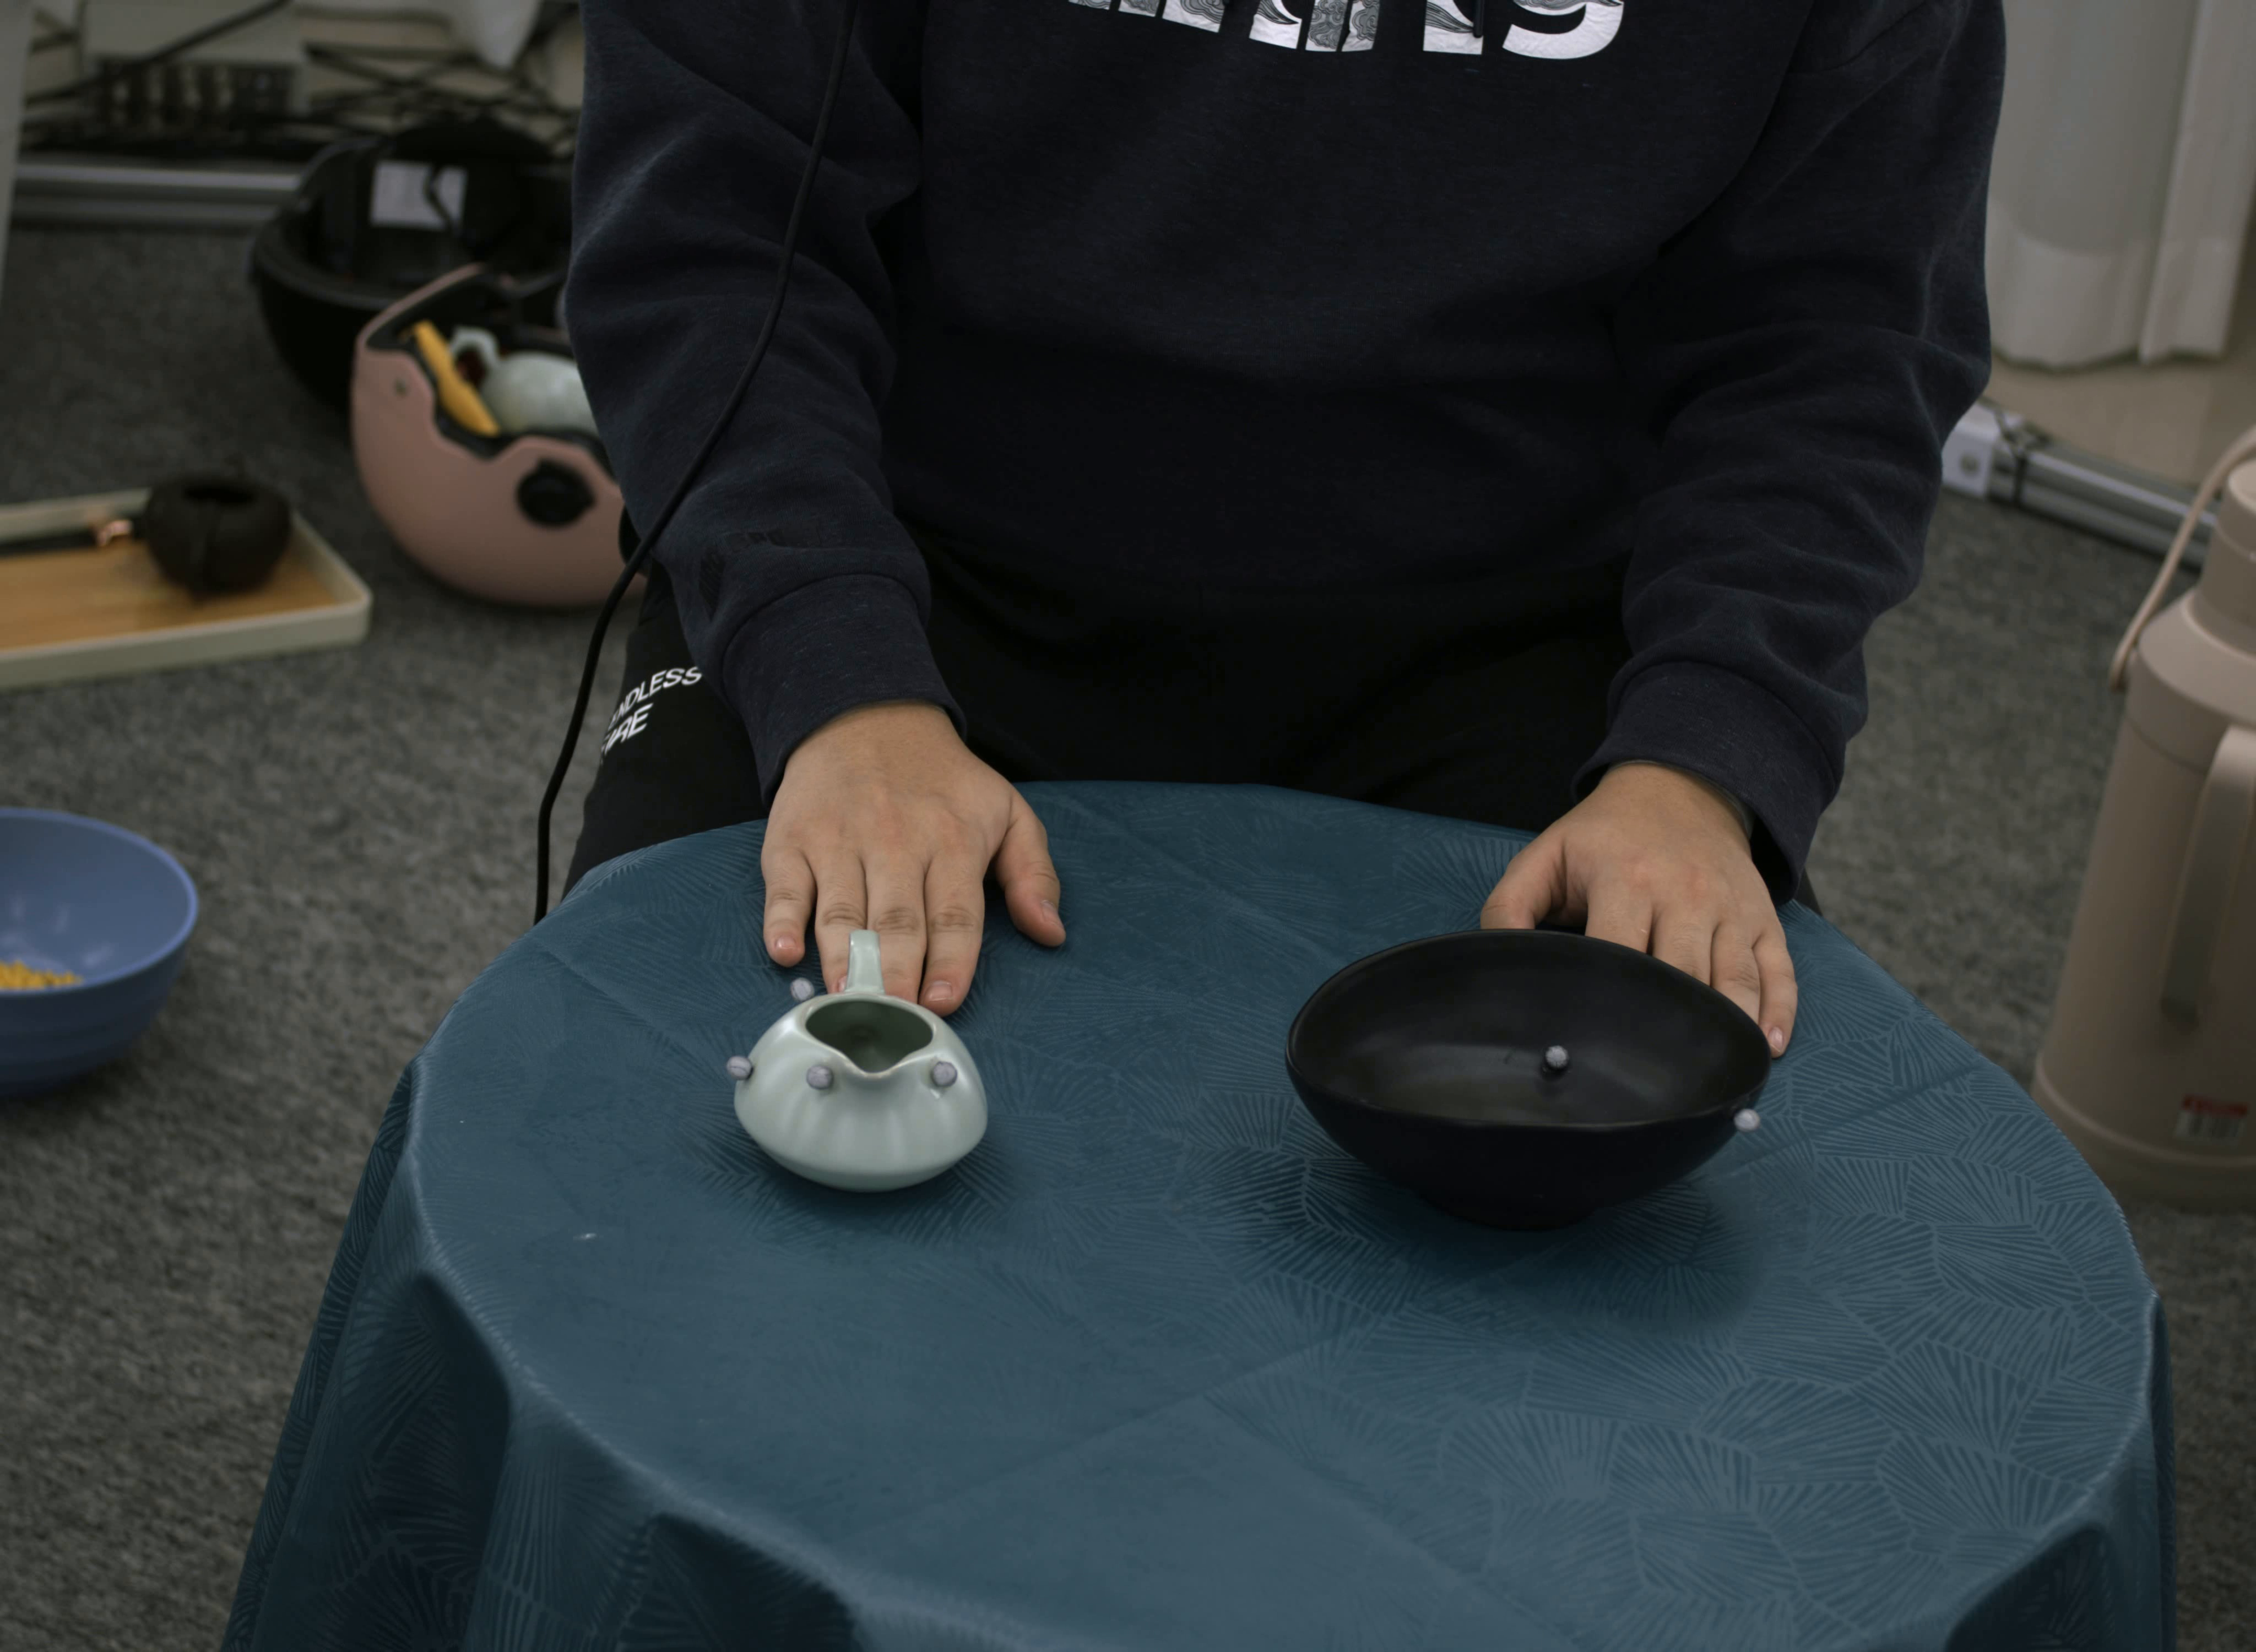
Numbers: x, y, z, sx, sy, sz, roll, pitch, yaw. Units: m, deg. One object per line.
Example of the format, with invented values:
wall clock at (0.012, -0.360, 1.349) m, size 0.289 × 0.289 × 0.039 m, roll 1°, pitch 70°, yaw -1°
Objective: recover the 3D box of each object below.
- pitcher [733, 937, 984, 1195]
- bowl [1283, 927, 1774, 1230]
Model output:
pitcher at (-0.091, 0.083, 1.804) m, size 0.085 × 0.060 × 0.109 m, roll 4°, pitch 25°, yaw -8°
bowl at (0.136, 0.096, 1.825) m, size 0.169 × 0.066 × 0.138 m, roll -2°, pitch 27°, yaw -16°
